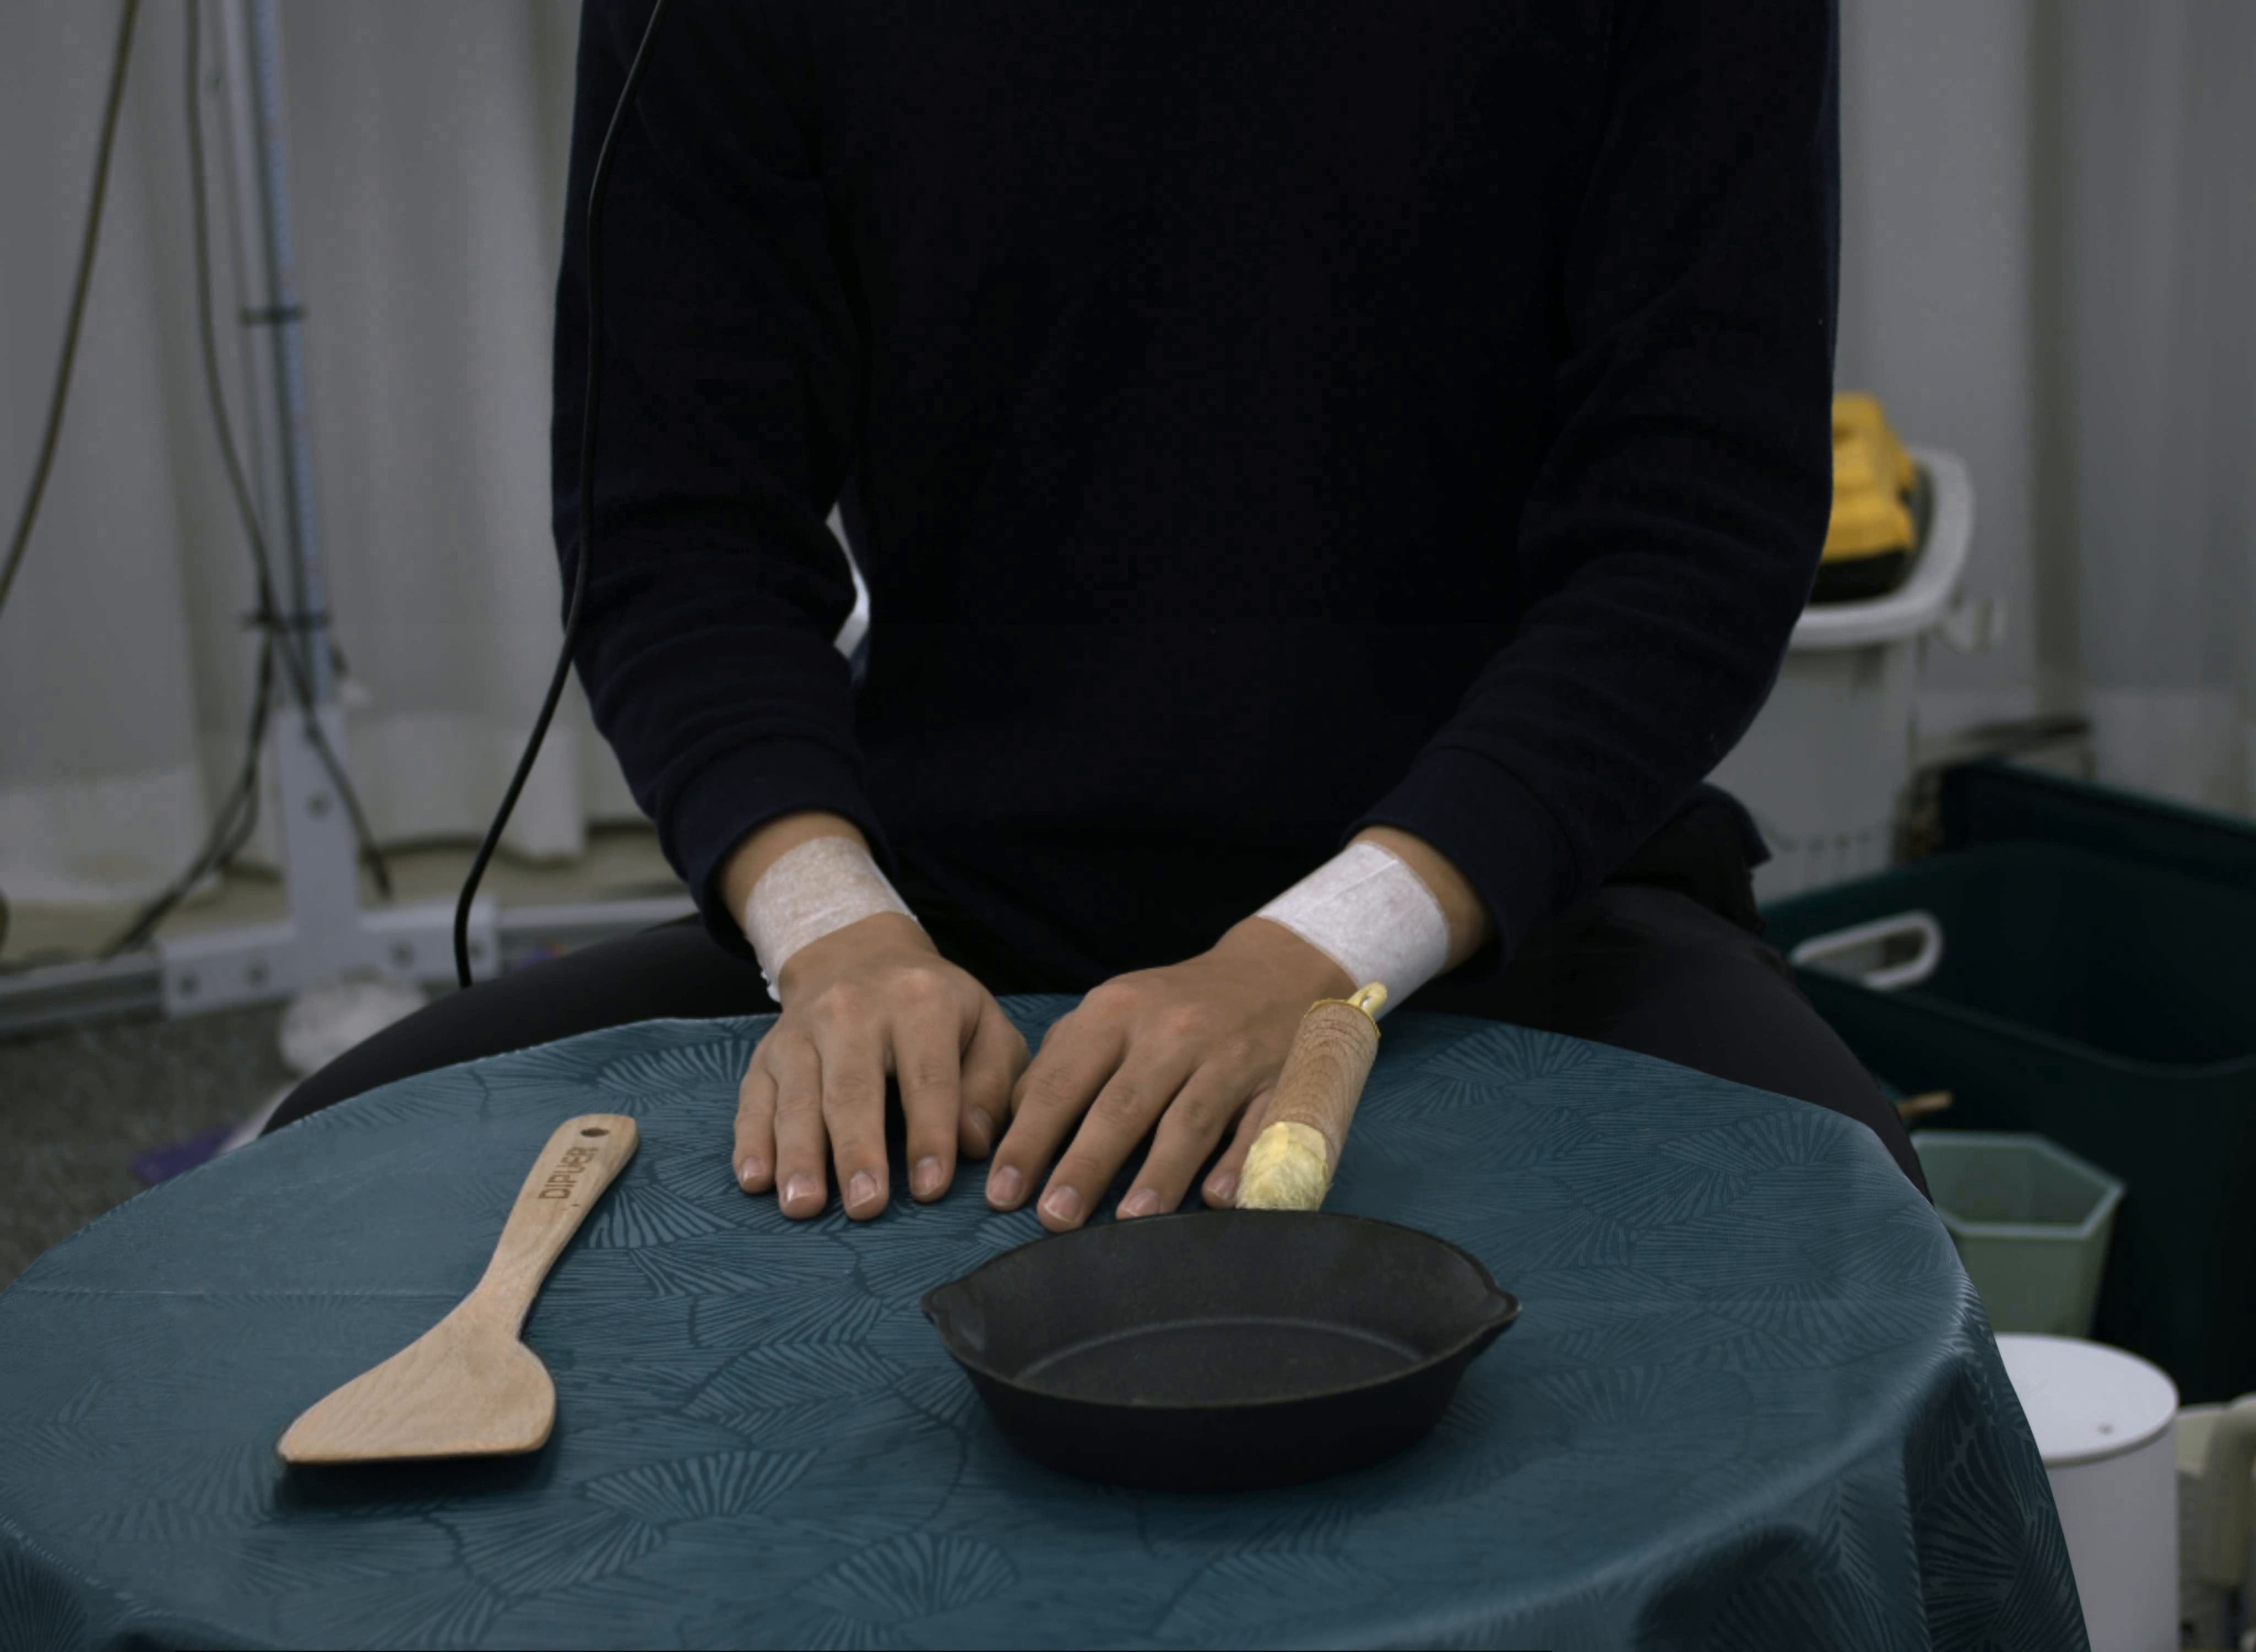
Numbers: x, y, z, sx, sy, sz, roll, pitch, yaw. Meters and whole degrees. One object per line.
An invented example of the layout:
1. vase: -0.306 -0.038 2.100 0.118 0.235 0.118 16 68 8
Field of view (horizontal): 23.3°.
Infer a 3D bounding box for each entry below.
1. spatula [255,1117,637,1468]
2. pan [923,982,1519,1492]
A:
1. spatula: -0.186 0.137 1.639 0.080 0.016 0.329 -1 15 6
2. pan: 0.044 0.117 1.602 0.169 0.049 0.326 0 17 13
